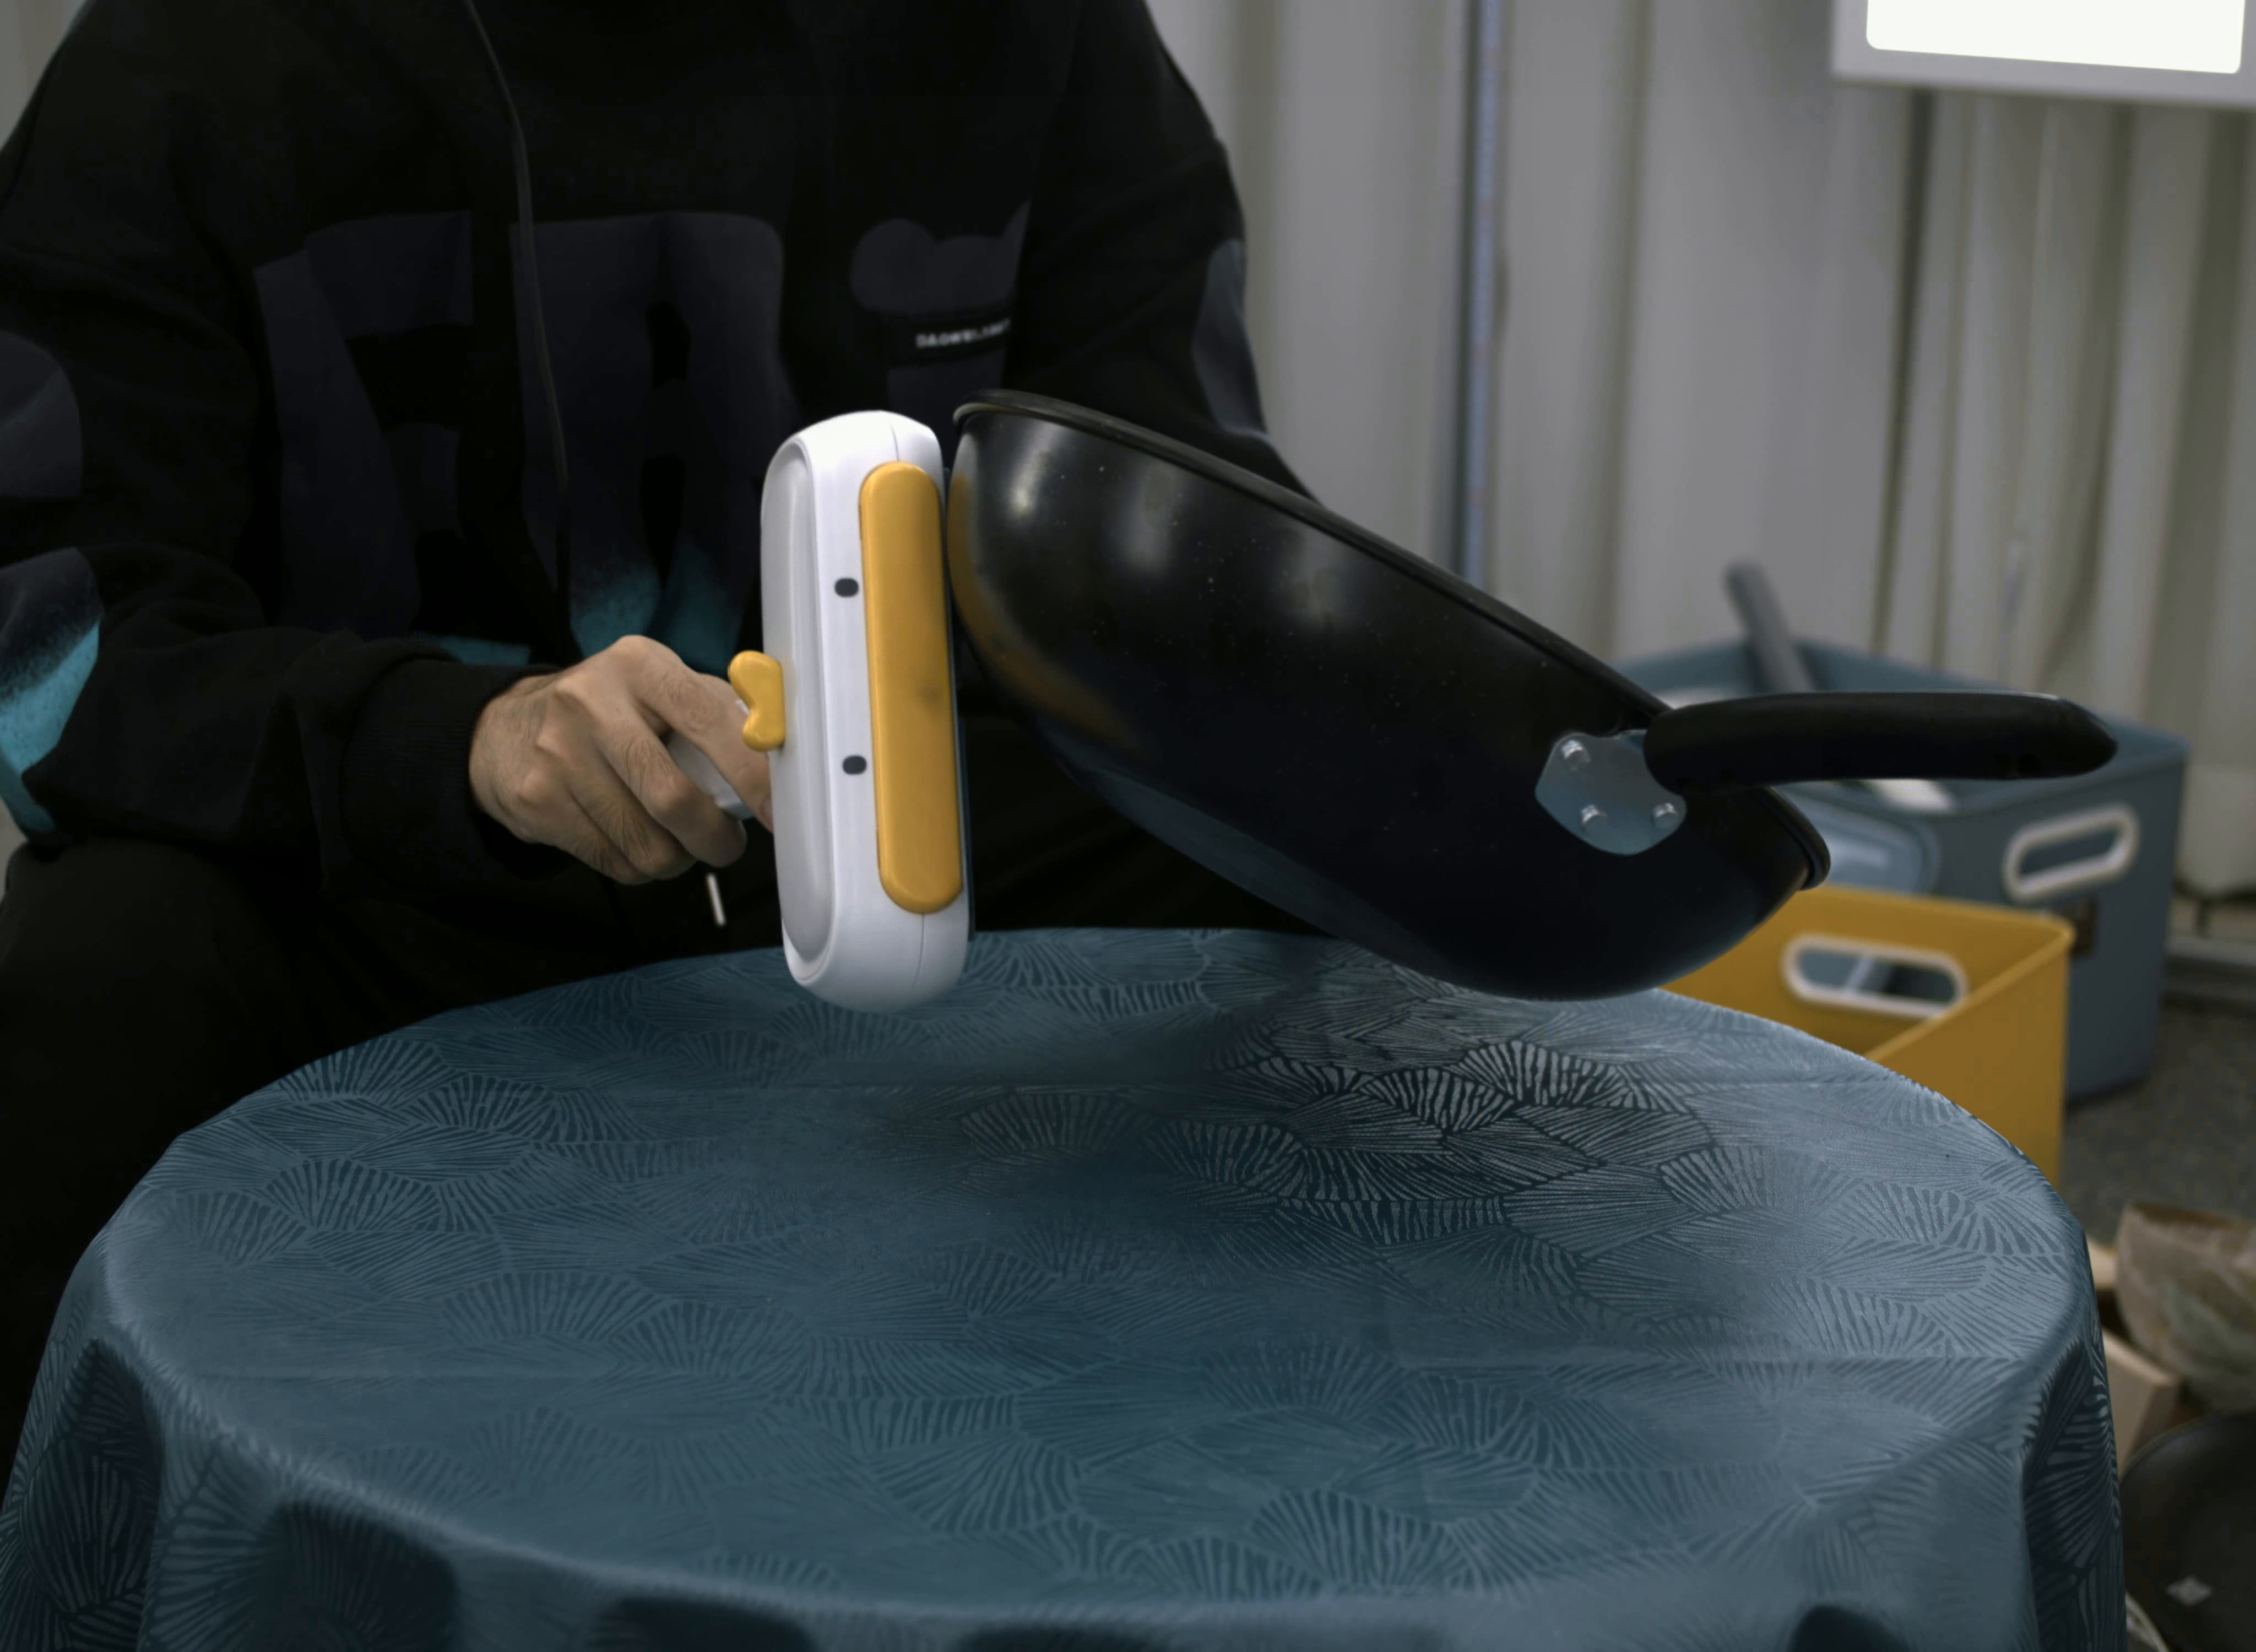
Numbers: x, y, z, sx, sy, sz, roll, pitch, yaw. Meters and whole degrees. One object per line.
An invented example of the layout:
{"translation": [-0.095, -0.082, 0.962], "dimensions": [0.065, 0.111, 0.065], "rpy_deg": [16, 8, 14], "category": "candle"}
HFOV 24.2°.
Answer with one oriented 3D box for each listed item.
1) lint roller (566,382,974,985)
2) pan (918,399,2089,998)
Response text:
{"translation": [-0.119, -0.028, 1.704], "dimensions": [0.074, 0.192, 0.192], "rpy_deg": [-2, -16, -31], "category": "lint roller"}
{"translation": [0.105, -0.019, 1.576], "dimensions": [0.314, 0.112, 0.471], "rpy_deg": [30, -7, -32], "category": "pan"}
